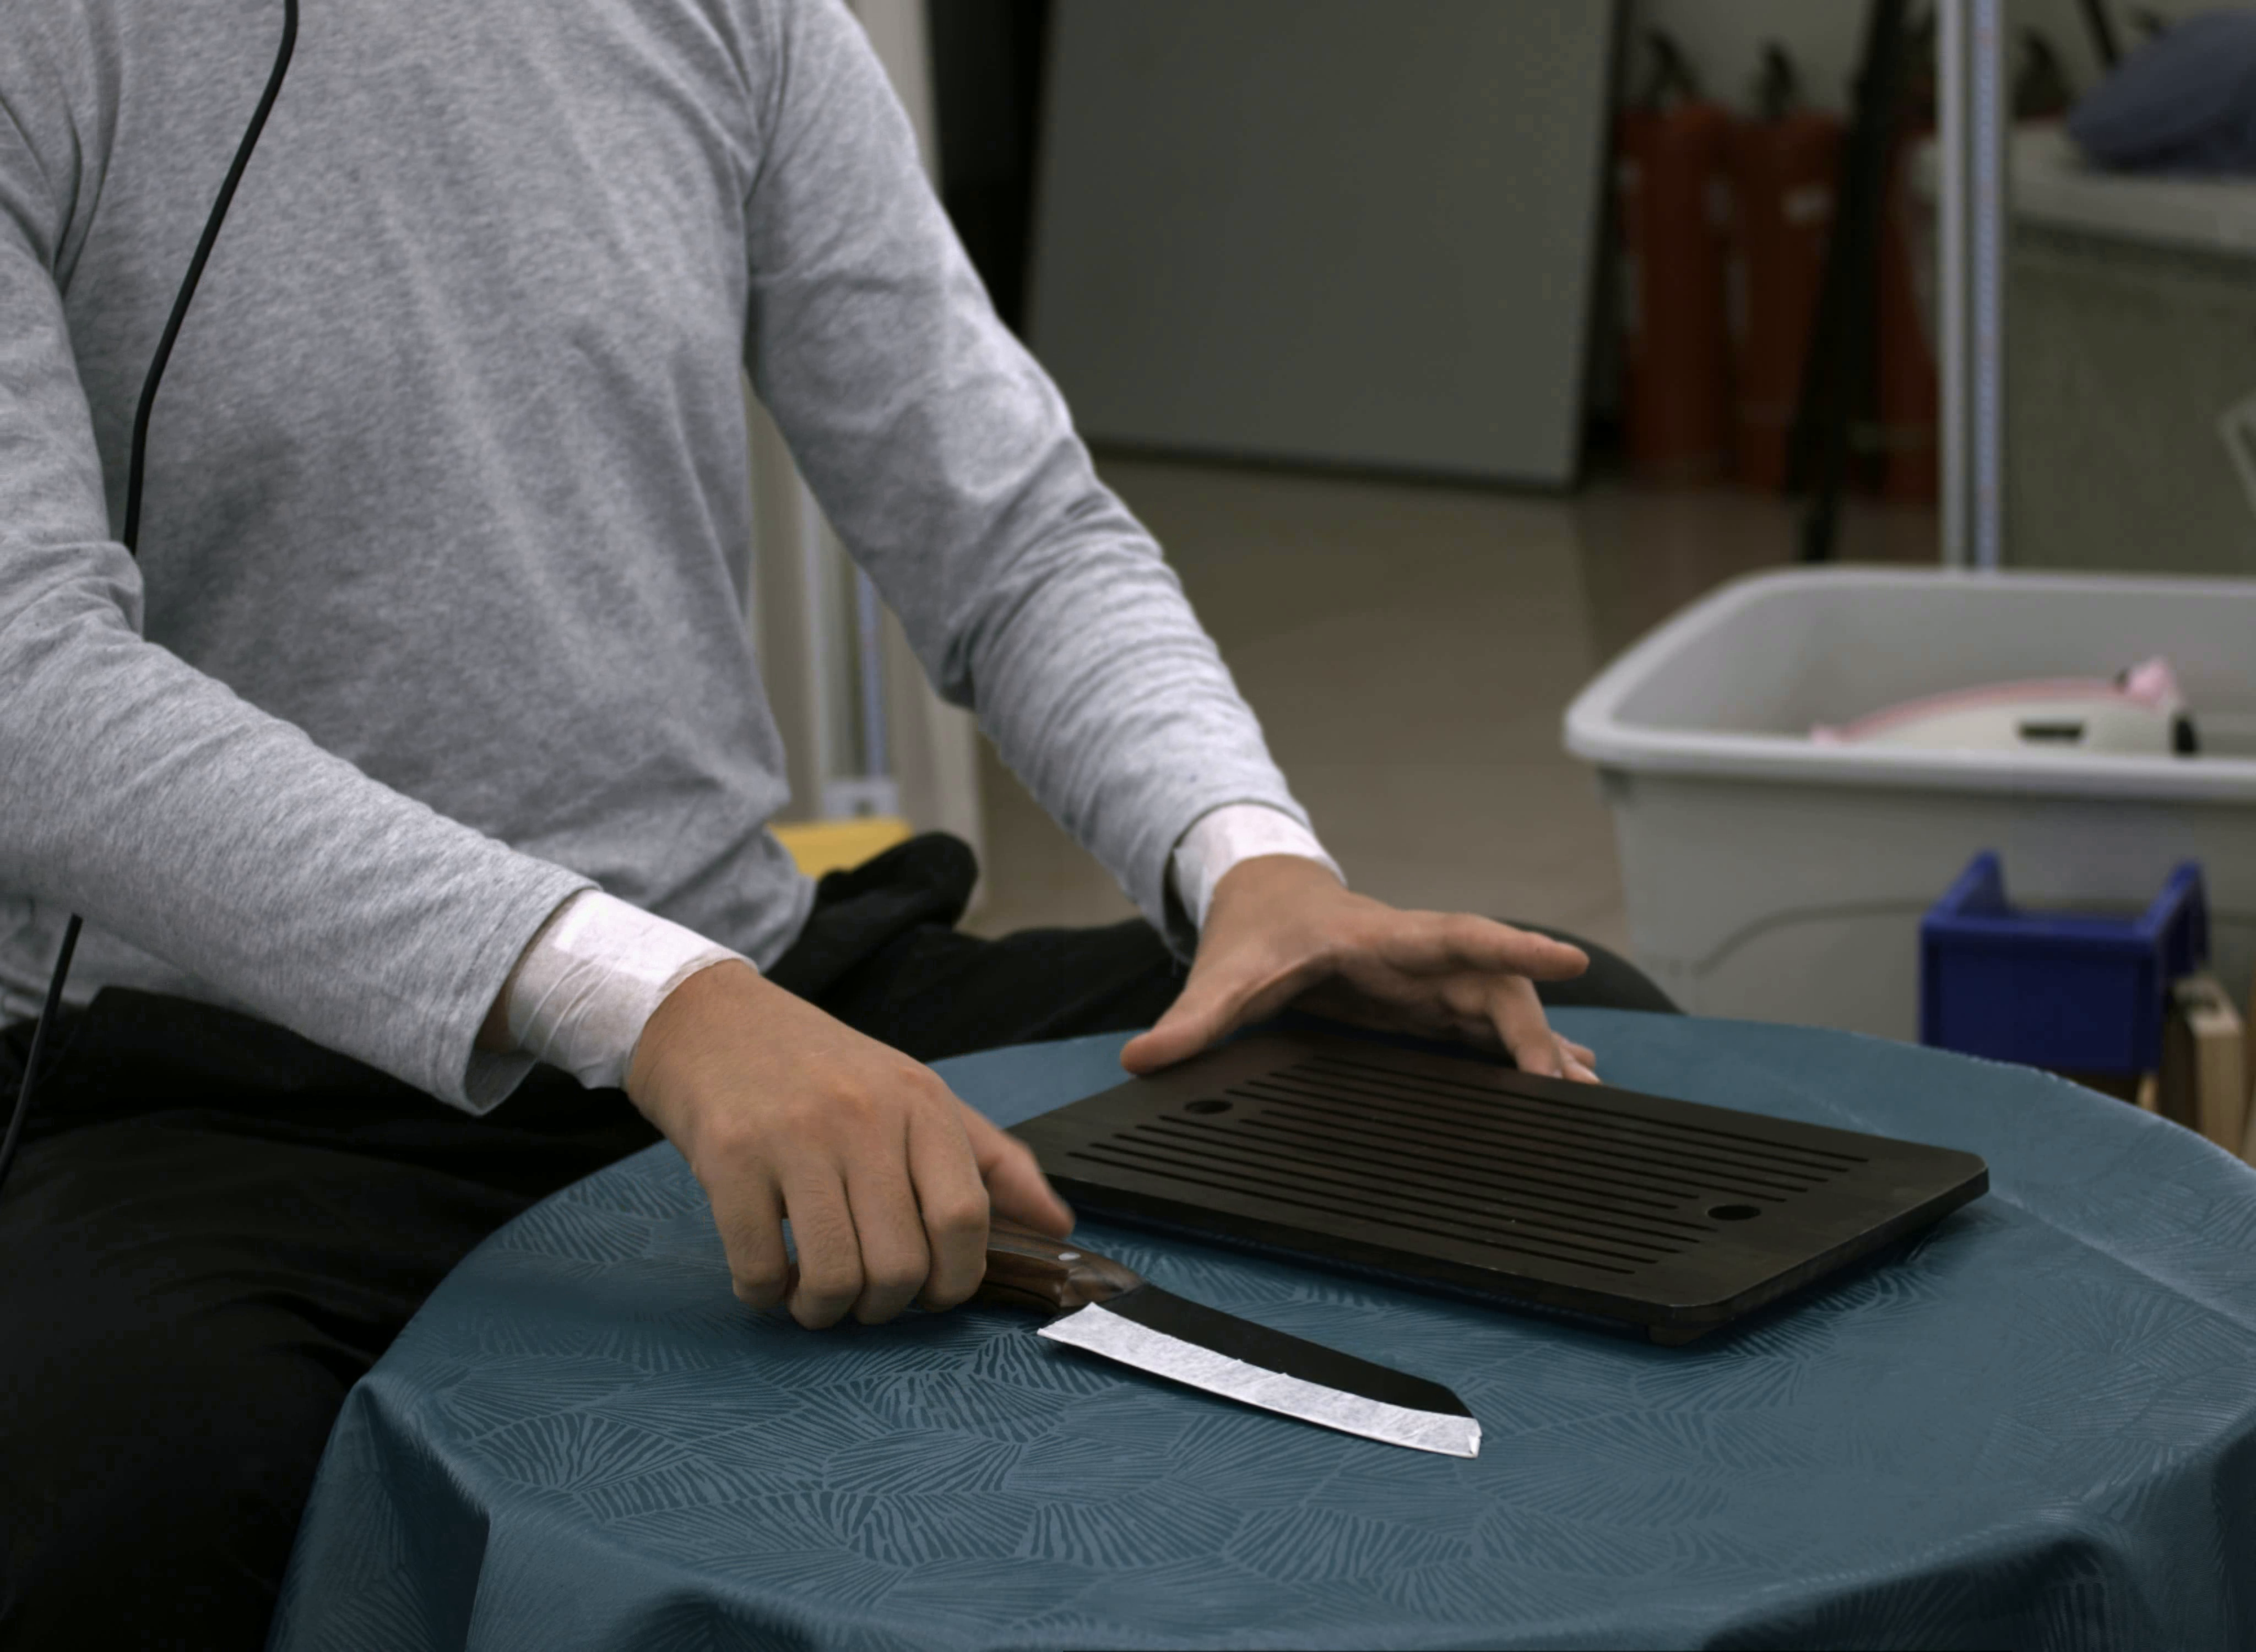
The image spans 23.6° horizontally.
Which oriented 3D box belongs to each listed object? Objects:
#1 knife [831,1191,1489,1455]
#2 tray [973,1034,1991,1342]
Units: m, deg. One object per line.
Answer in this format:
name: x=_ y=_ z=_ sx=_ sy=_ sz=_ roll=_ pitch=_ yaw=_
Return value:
knife: x=0.005 y=0.151 z=1.622 sx=0.049 sy=0.020 sz=0.292 roll=-21 pitch=23 yaw=-37
tray: x=0.111 y=0.114 z=1.736 sx=0.308 sy=0.019 sz=0.167 roll=8 pitch=18 yaw=42
